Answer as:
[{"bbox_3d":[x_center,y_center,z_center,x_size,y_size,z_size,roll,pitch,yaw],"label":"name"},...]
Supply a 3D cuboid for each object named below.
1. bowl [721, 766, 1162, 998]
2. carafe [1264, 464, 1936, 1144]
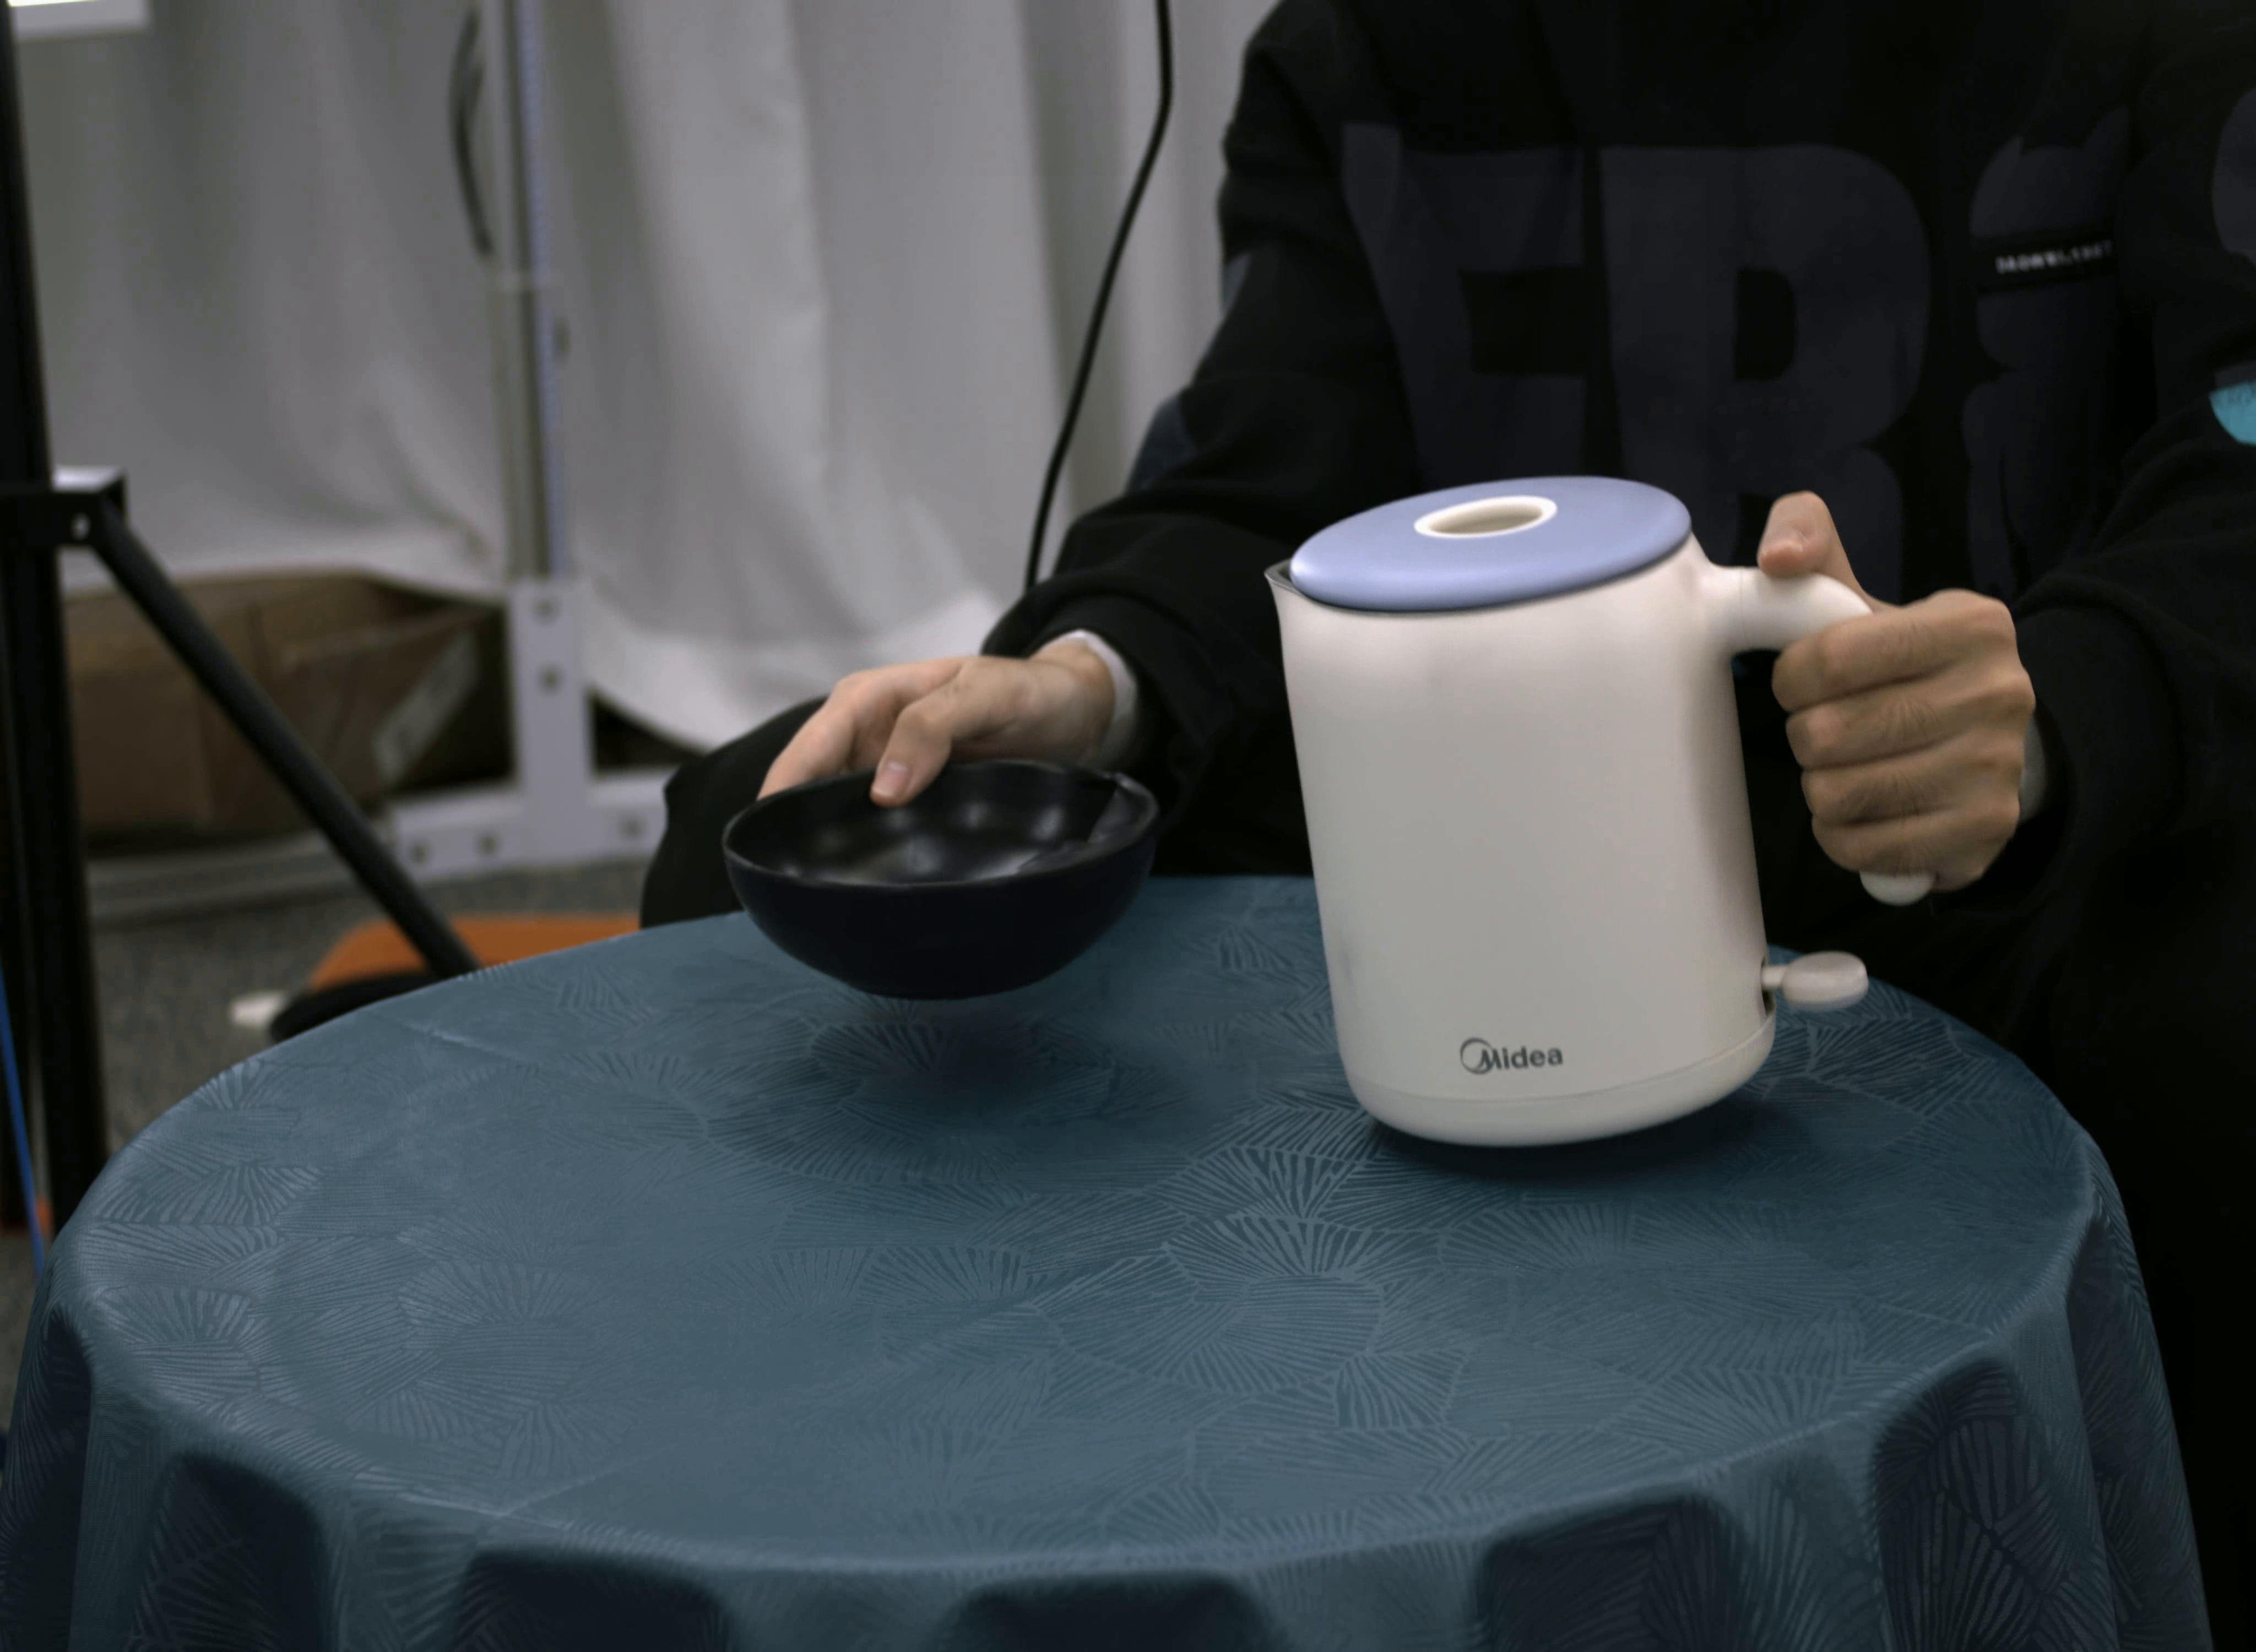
[{"bbox_3d":[-0.057,0.021,1.671,0.139,0.050,0.140,-4,14,0],"label":"bowl"},{"bbox_3d":[0.141,-0.008,1.564,0.192,0.182,0.131,-2,18,16],"label":"carafe"}]
